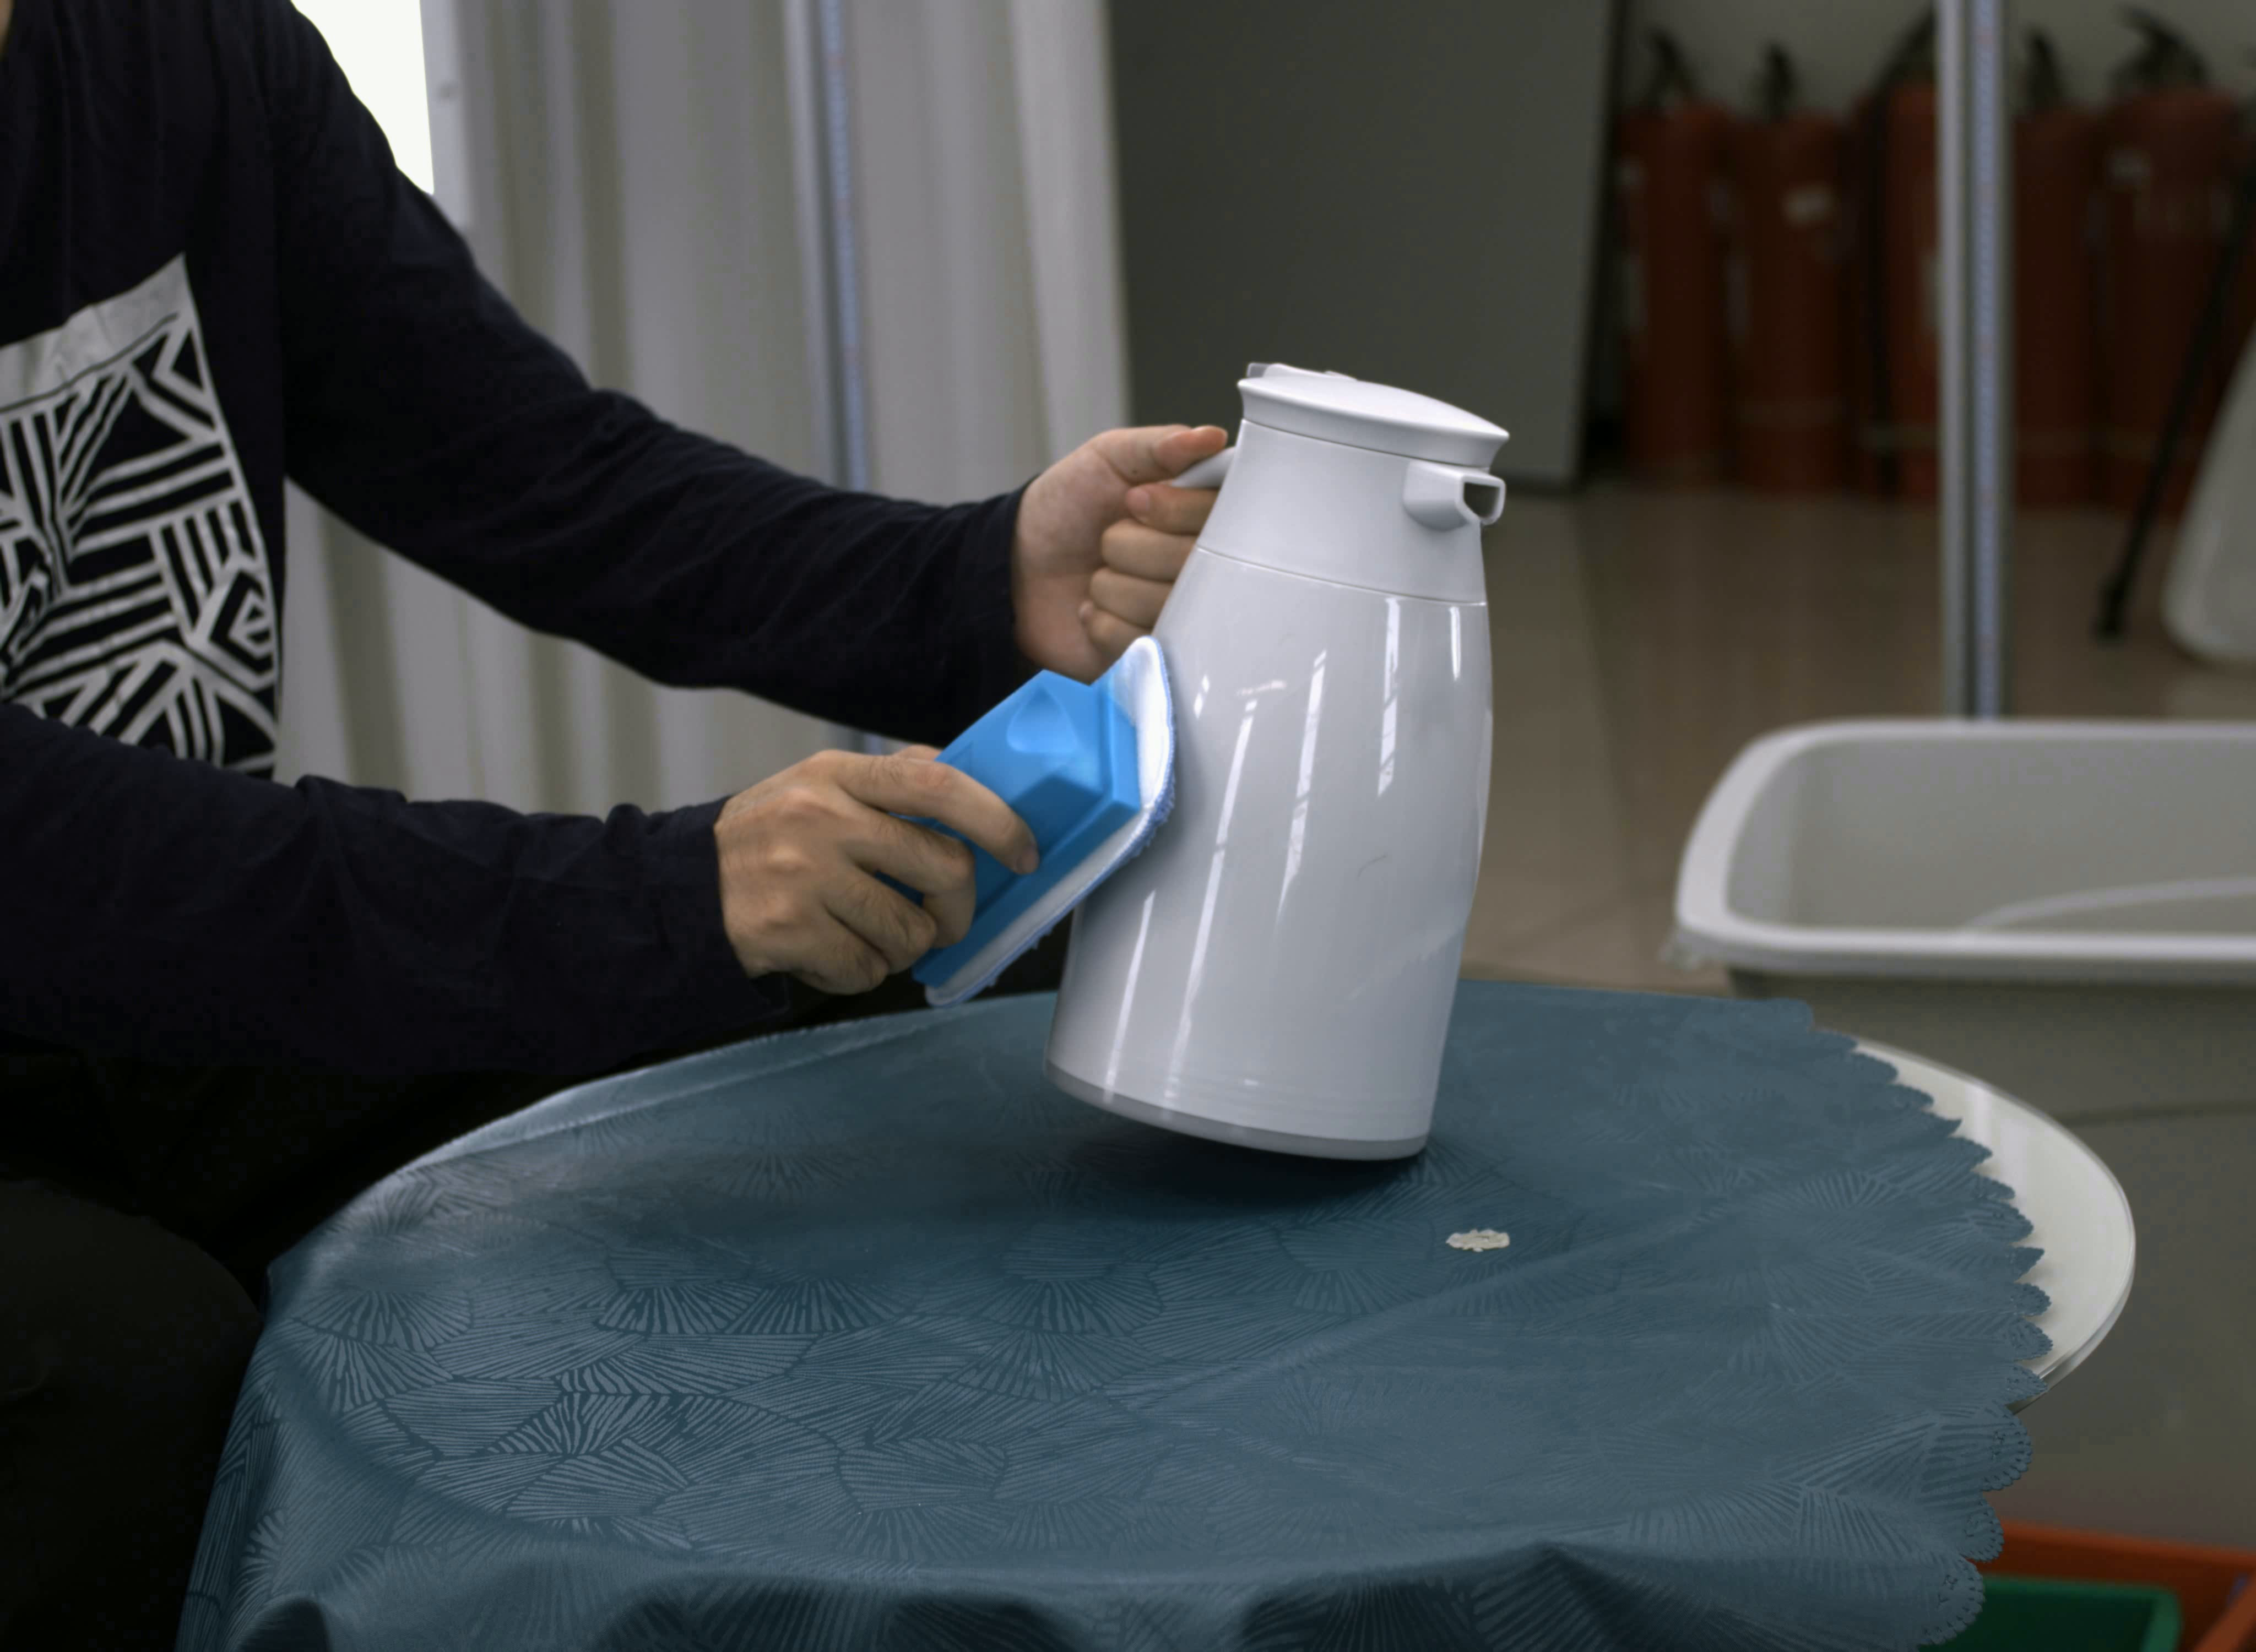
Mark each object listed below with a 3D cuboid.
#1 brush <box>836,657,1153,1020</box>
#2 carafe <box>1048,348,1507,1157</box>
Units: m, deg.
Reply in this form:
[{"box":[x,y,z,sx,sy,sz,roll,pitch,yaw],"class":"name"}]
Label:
[{"box":[-0.049,-0.002,1.773,0.055,0.084,0.145,26,-43,-26],"class":"brush"},{"box":[0.046,-0.031,1.797,0.129,0.252,0.169,5,8,-39],"class":"carafe"}]
